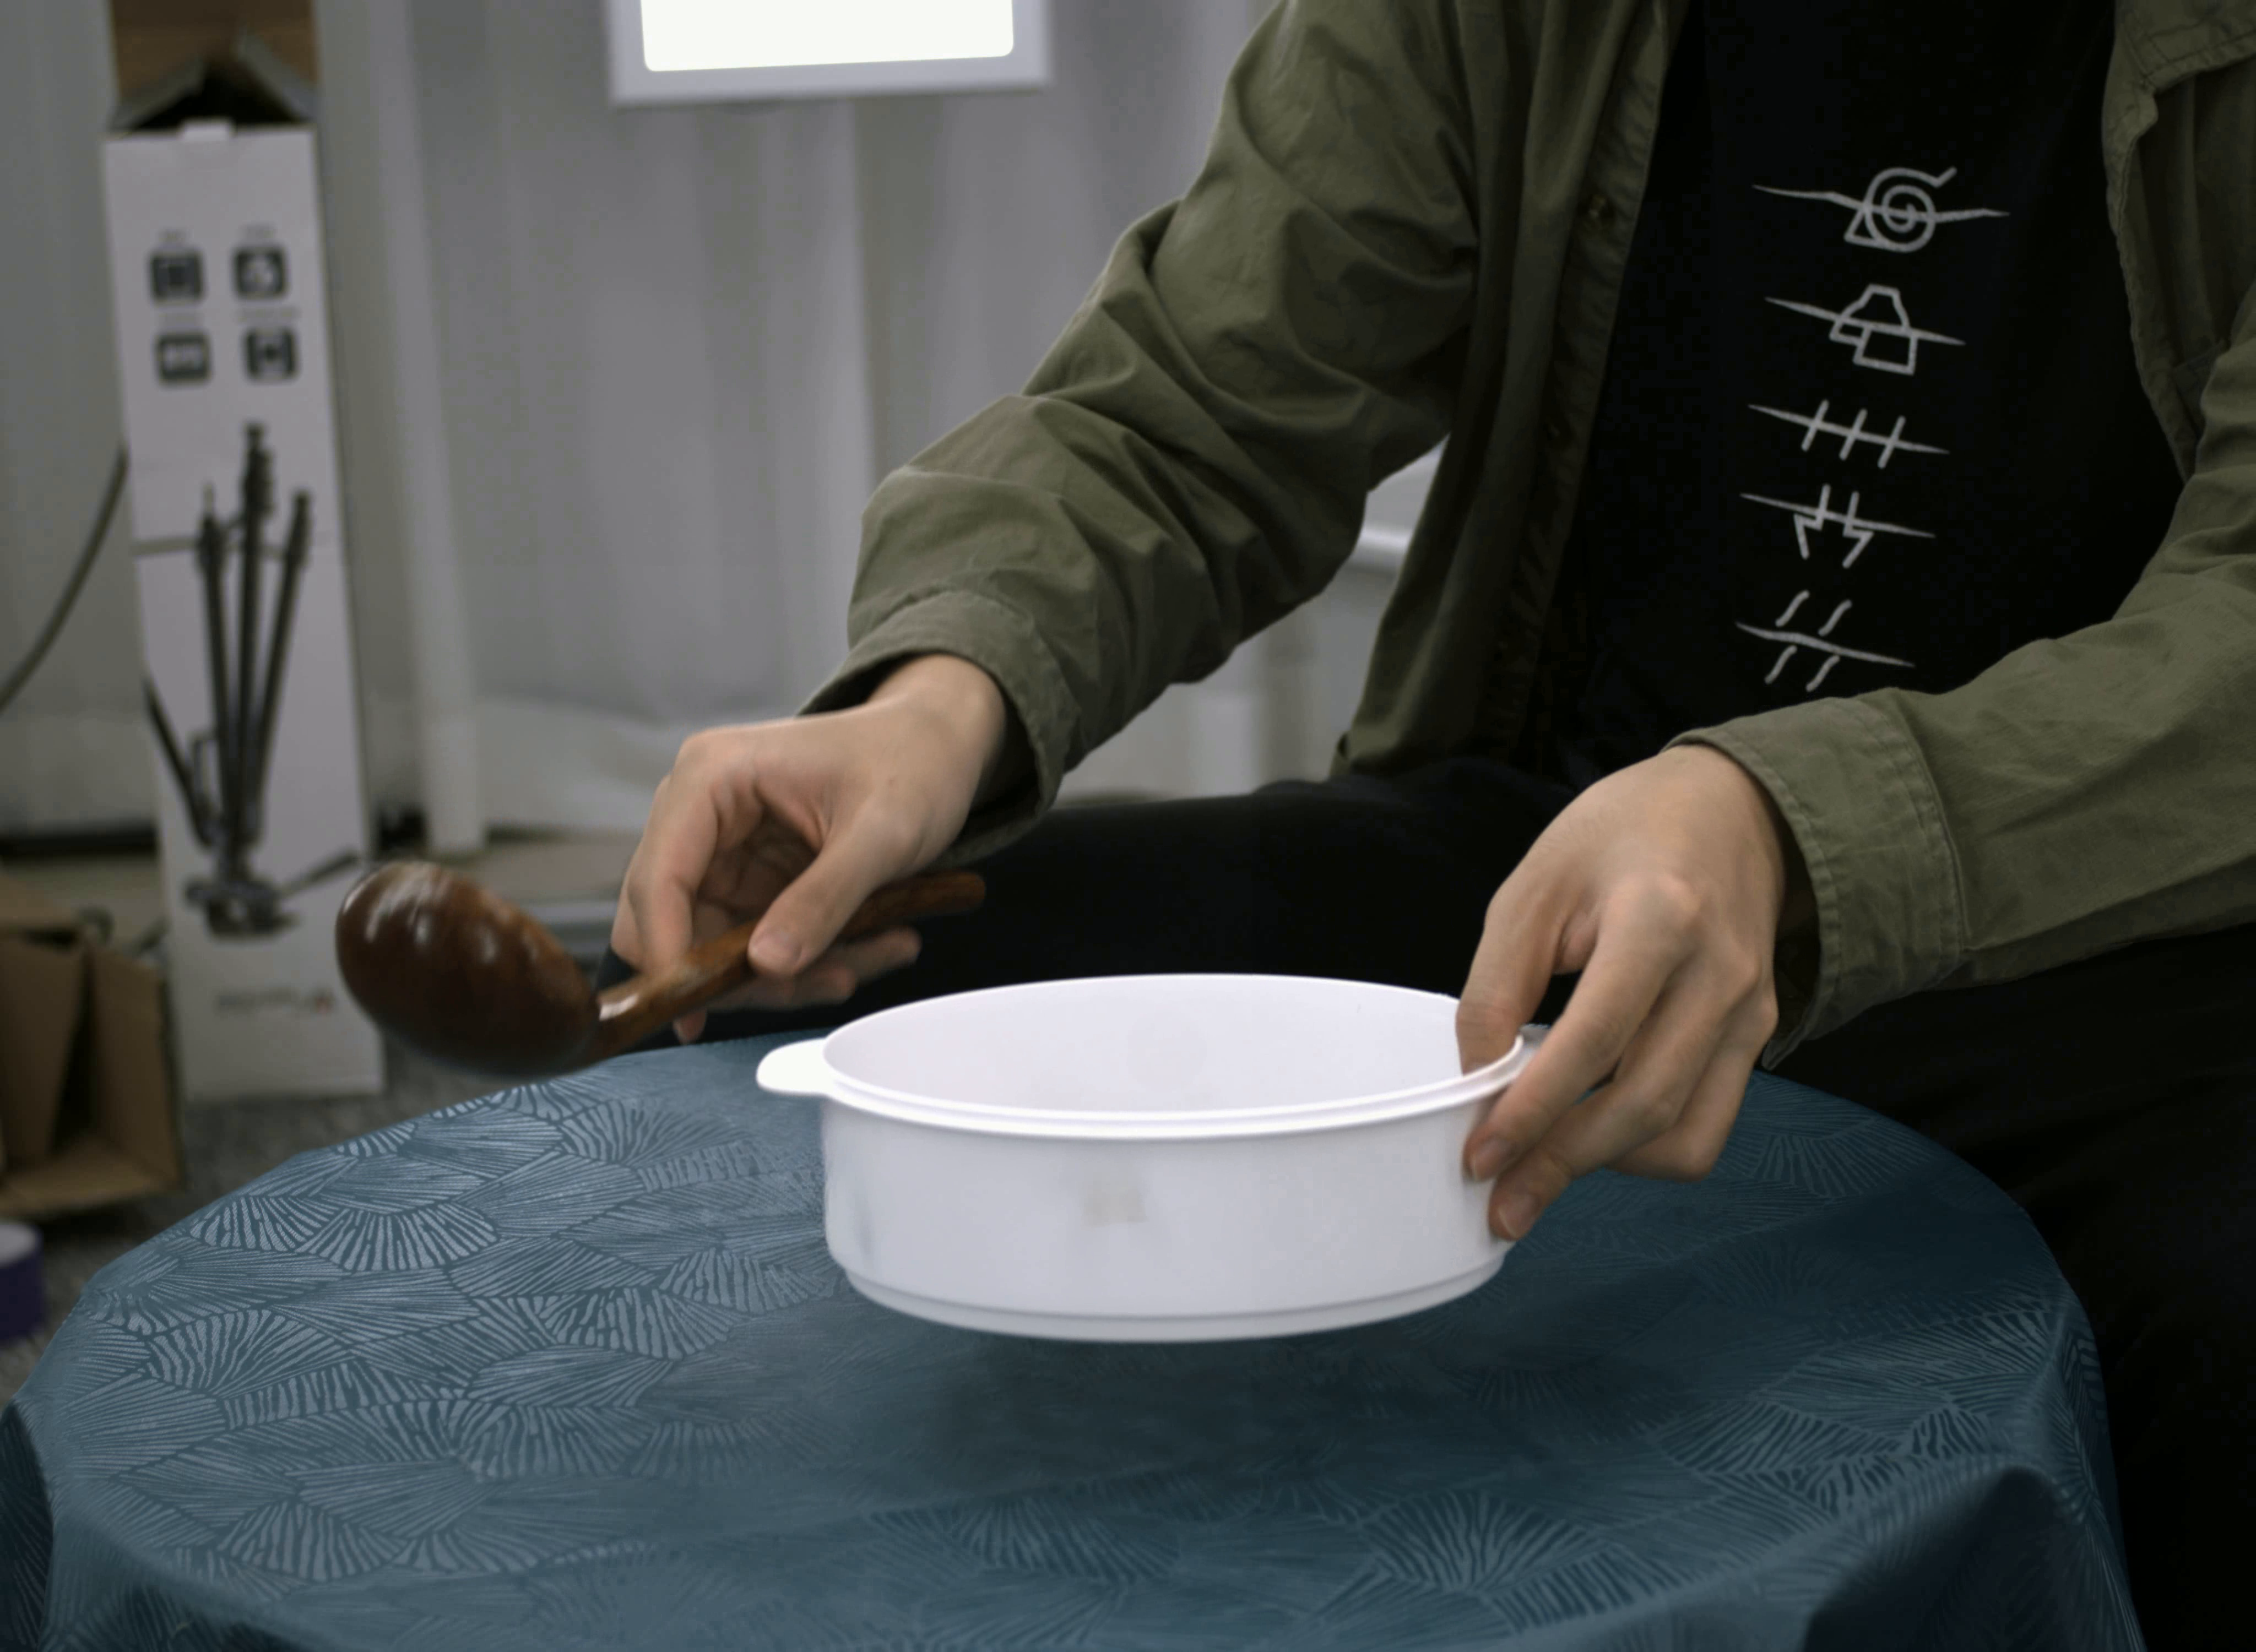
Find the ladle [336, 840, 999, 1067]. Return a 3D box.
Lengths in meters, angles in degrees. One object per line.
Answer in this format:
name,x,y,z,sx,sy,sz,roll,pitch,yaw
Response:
ladle,-0.130,0.017,1.648,0.082,0.076,0.274,10,17,34

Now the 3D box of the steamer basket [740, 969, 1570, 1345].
steamer basket,0.008,0.092,1.523,0.230,0.069,0.202,0,9,2
